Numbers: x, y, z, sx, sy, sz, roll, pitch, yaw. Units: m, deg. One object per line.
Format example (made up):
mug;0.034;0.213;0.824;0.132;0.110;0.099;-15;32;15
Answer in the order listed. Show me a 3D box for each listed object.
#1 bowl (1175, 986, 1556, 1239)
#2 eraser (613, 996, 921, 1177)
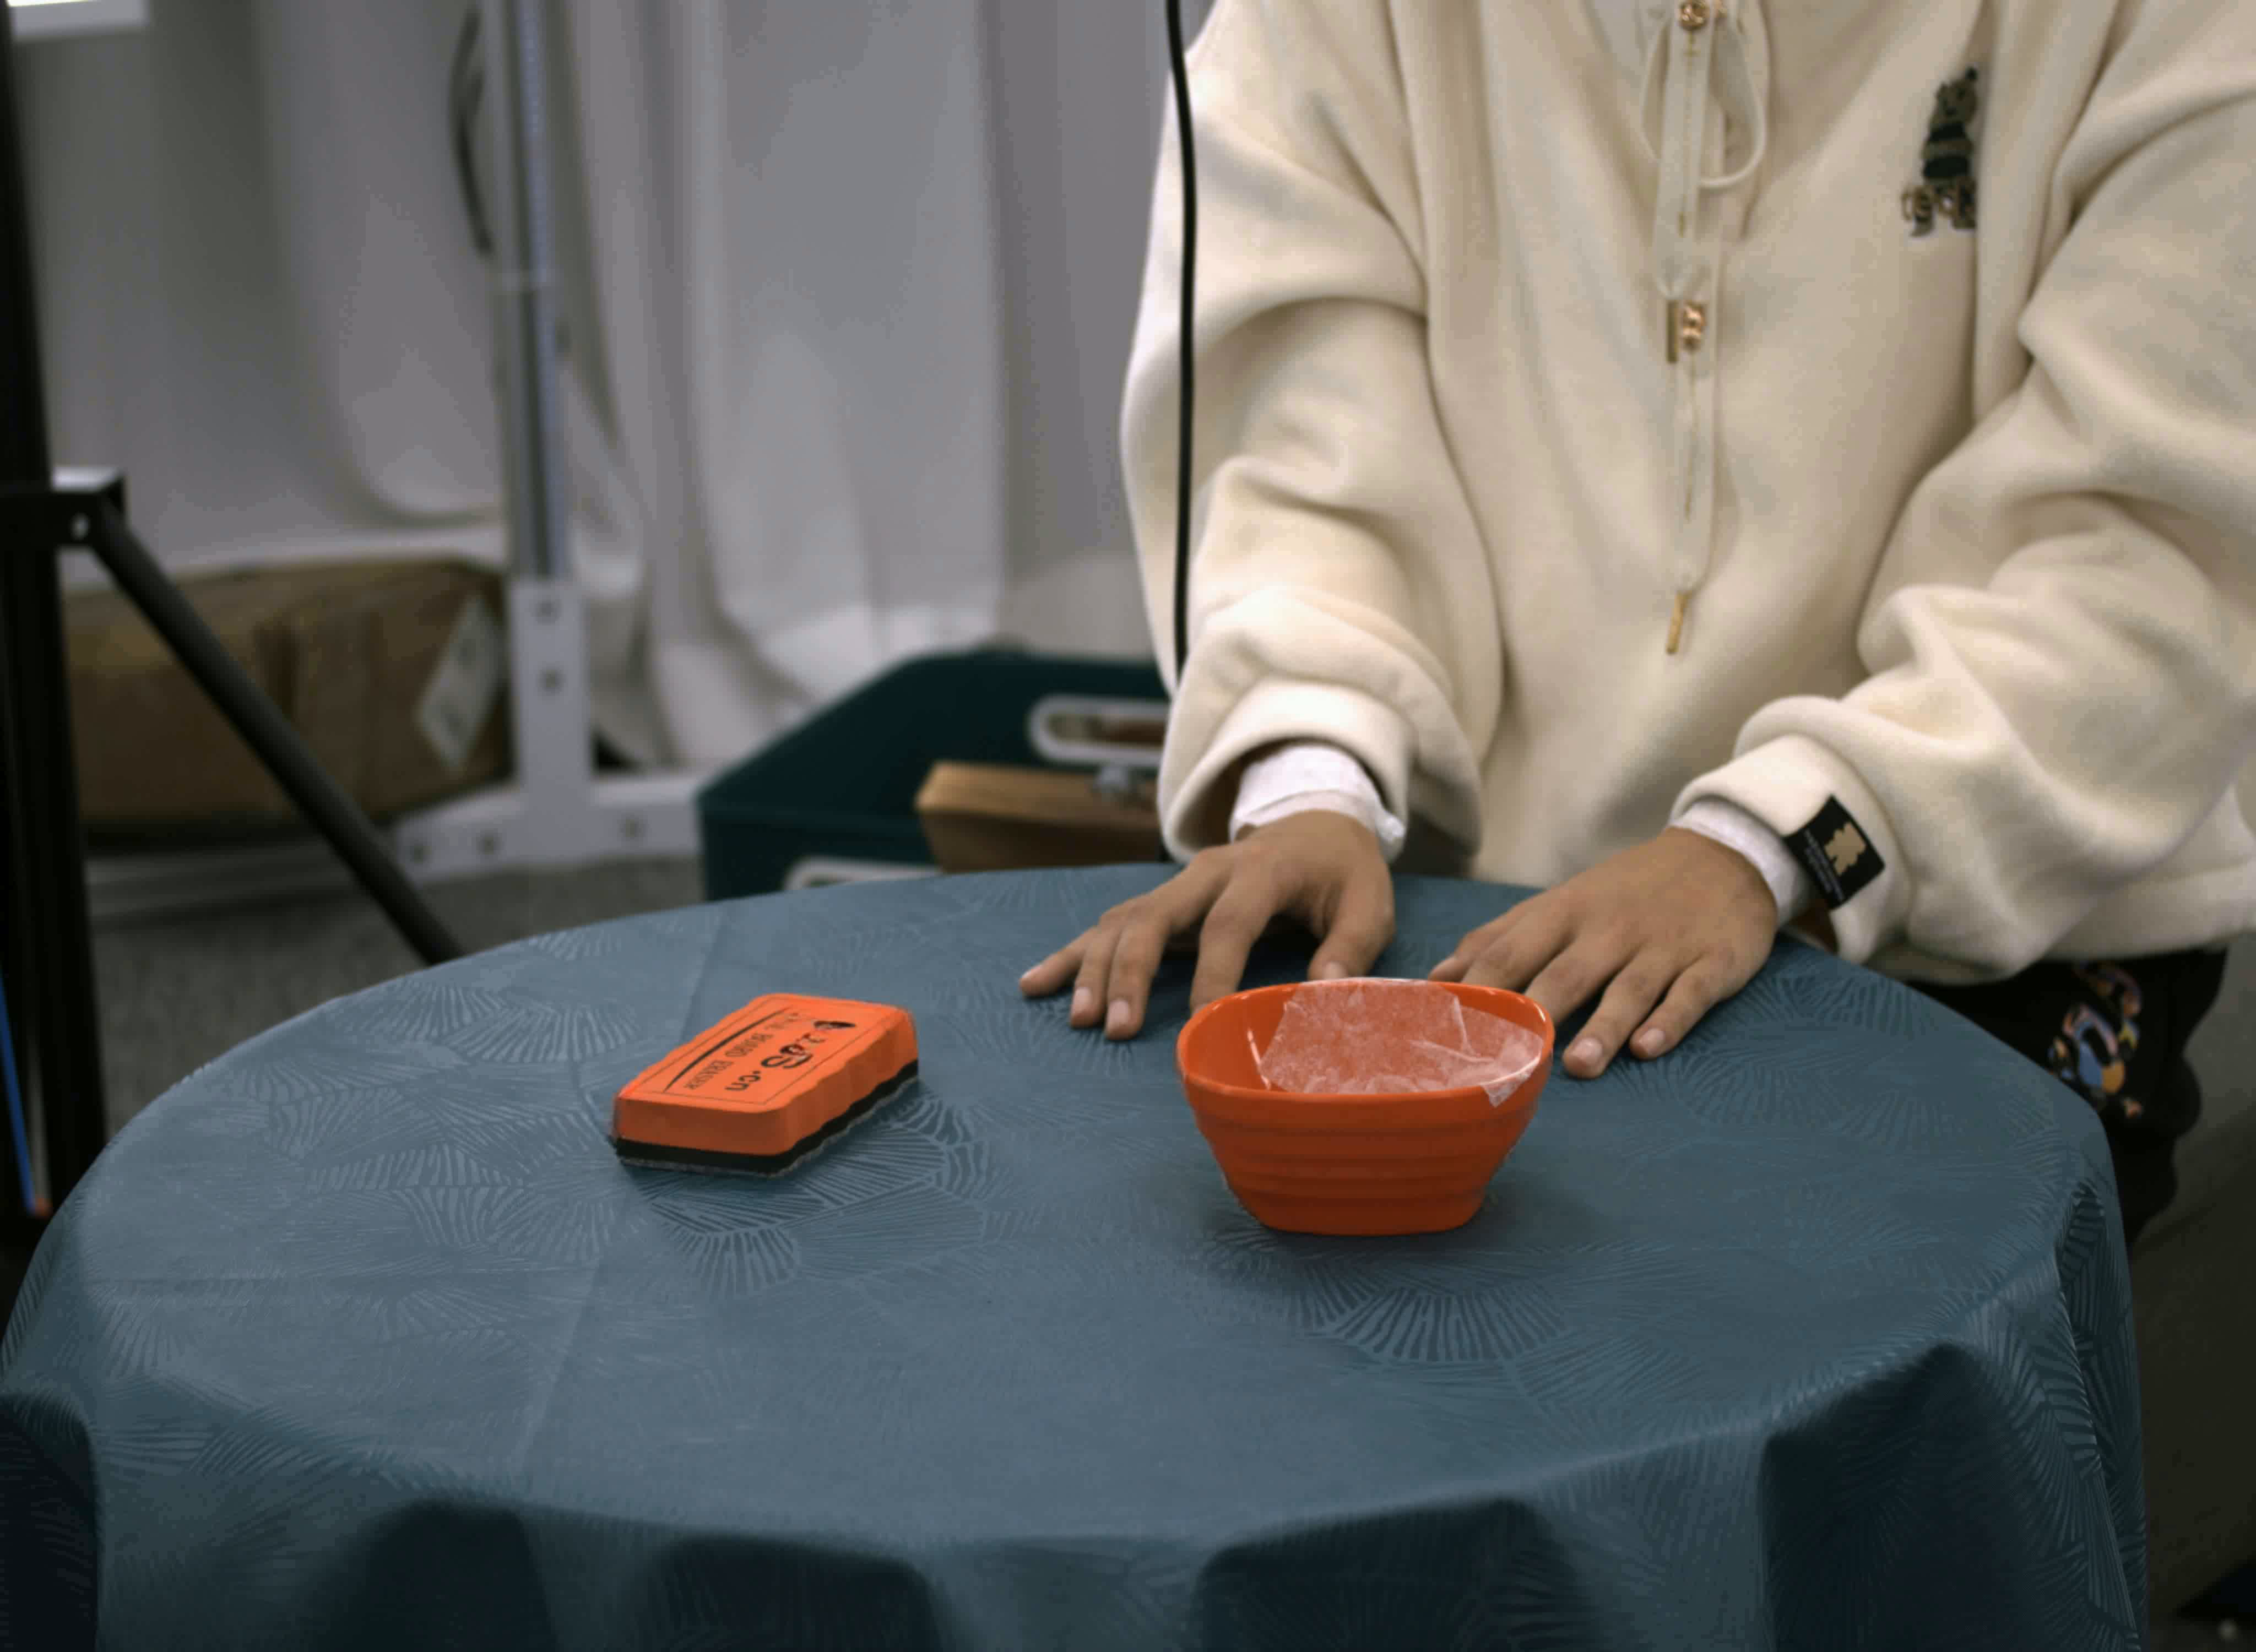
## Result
bowl;0.070;0.085;1.535;0.118;0.051;0.119;-3;14;-1
eraser;-0.110;0.079;1.635;0.060;0.023;0.106;2;16;25
